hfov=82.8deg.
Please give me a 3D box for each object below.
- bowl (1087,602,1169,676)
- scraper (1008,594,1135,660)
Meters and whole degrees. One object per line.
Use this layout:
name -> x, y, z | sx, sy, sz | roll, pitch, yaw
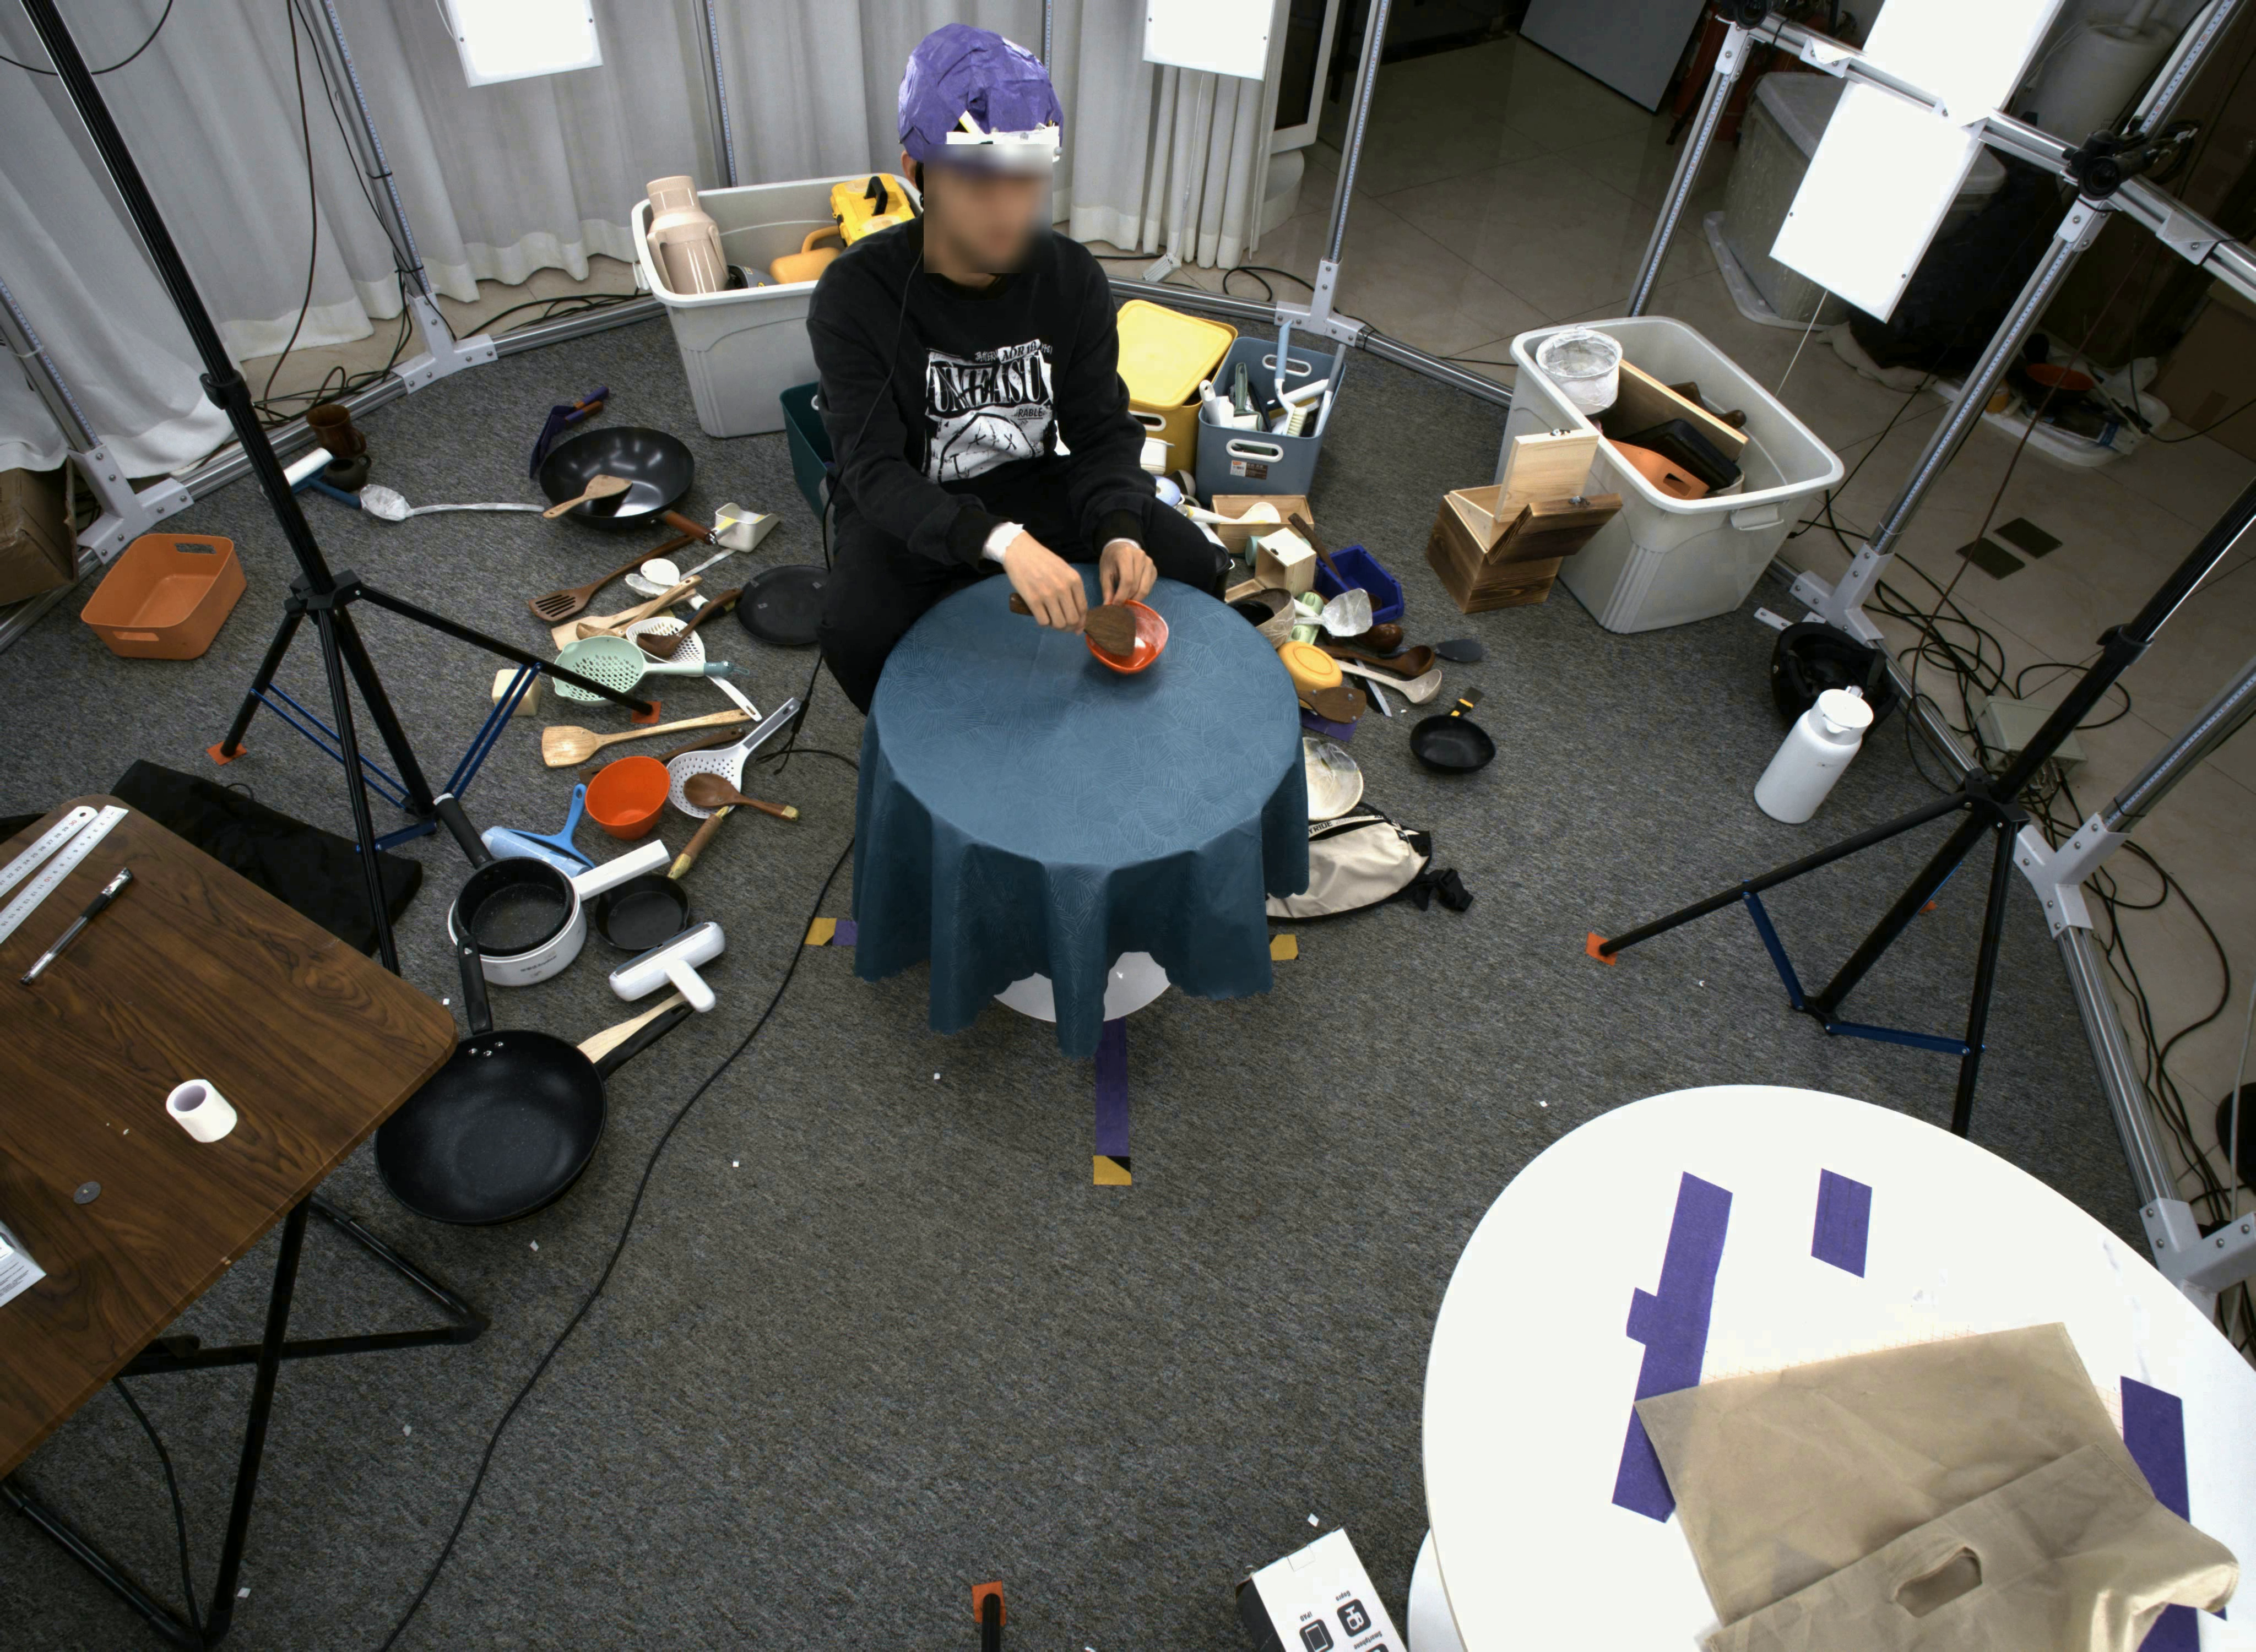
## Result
bowl -> -0.001, -0.264, 1.872 | 0.119, 0.050, 0.121 | 0, 65, 0
scraper -> -0.077, -0.289, 1.804 | 0.209, 0.011, 0.076 | 10, 76, -35
